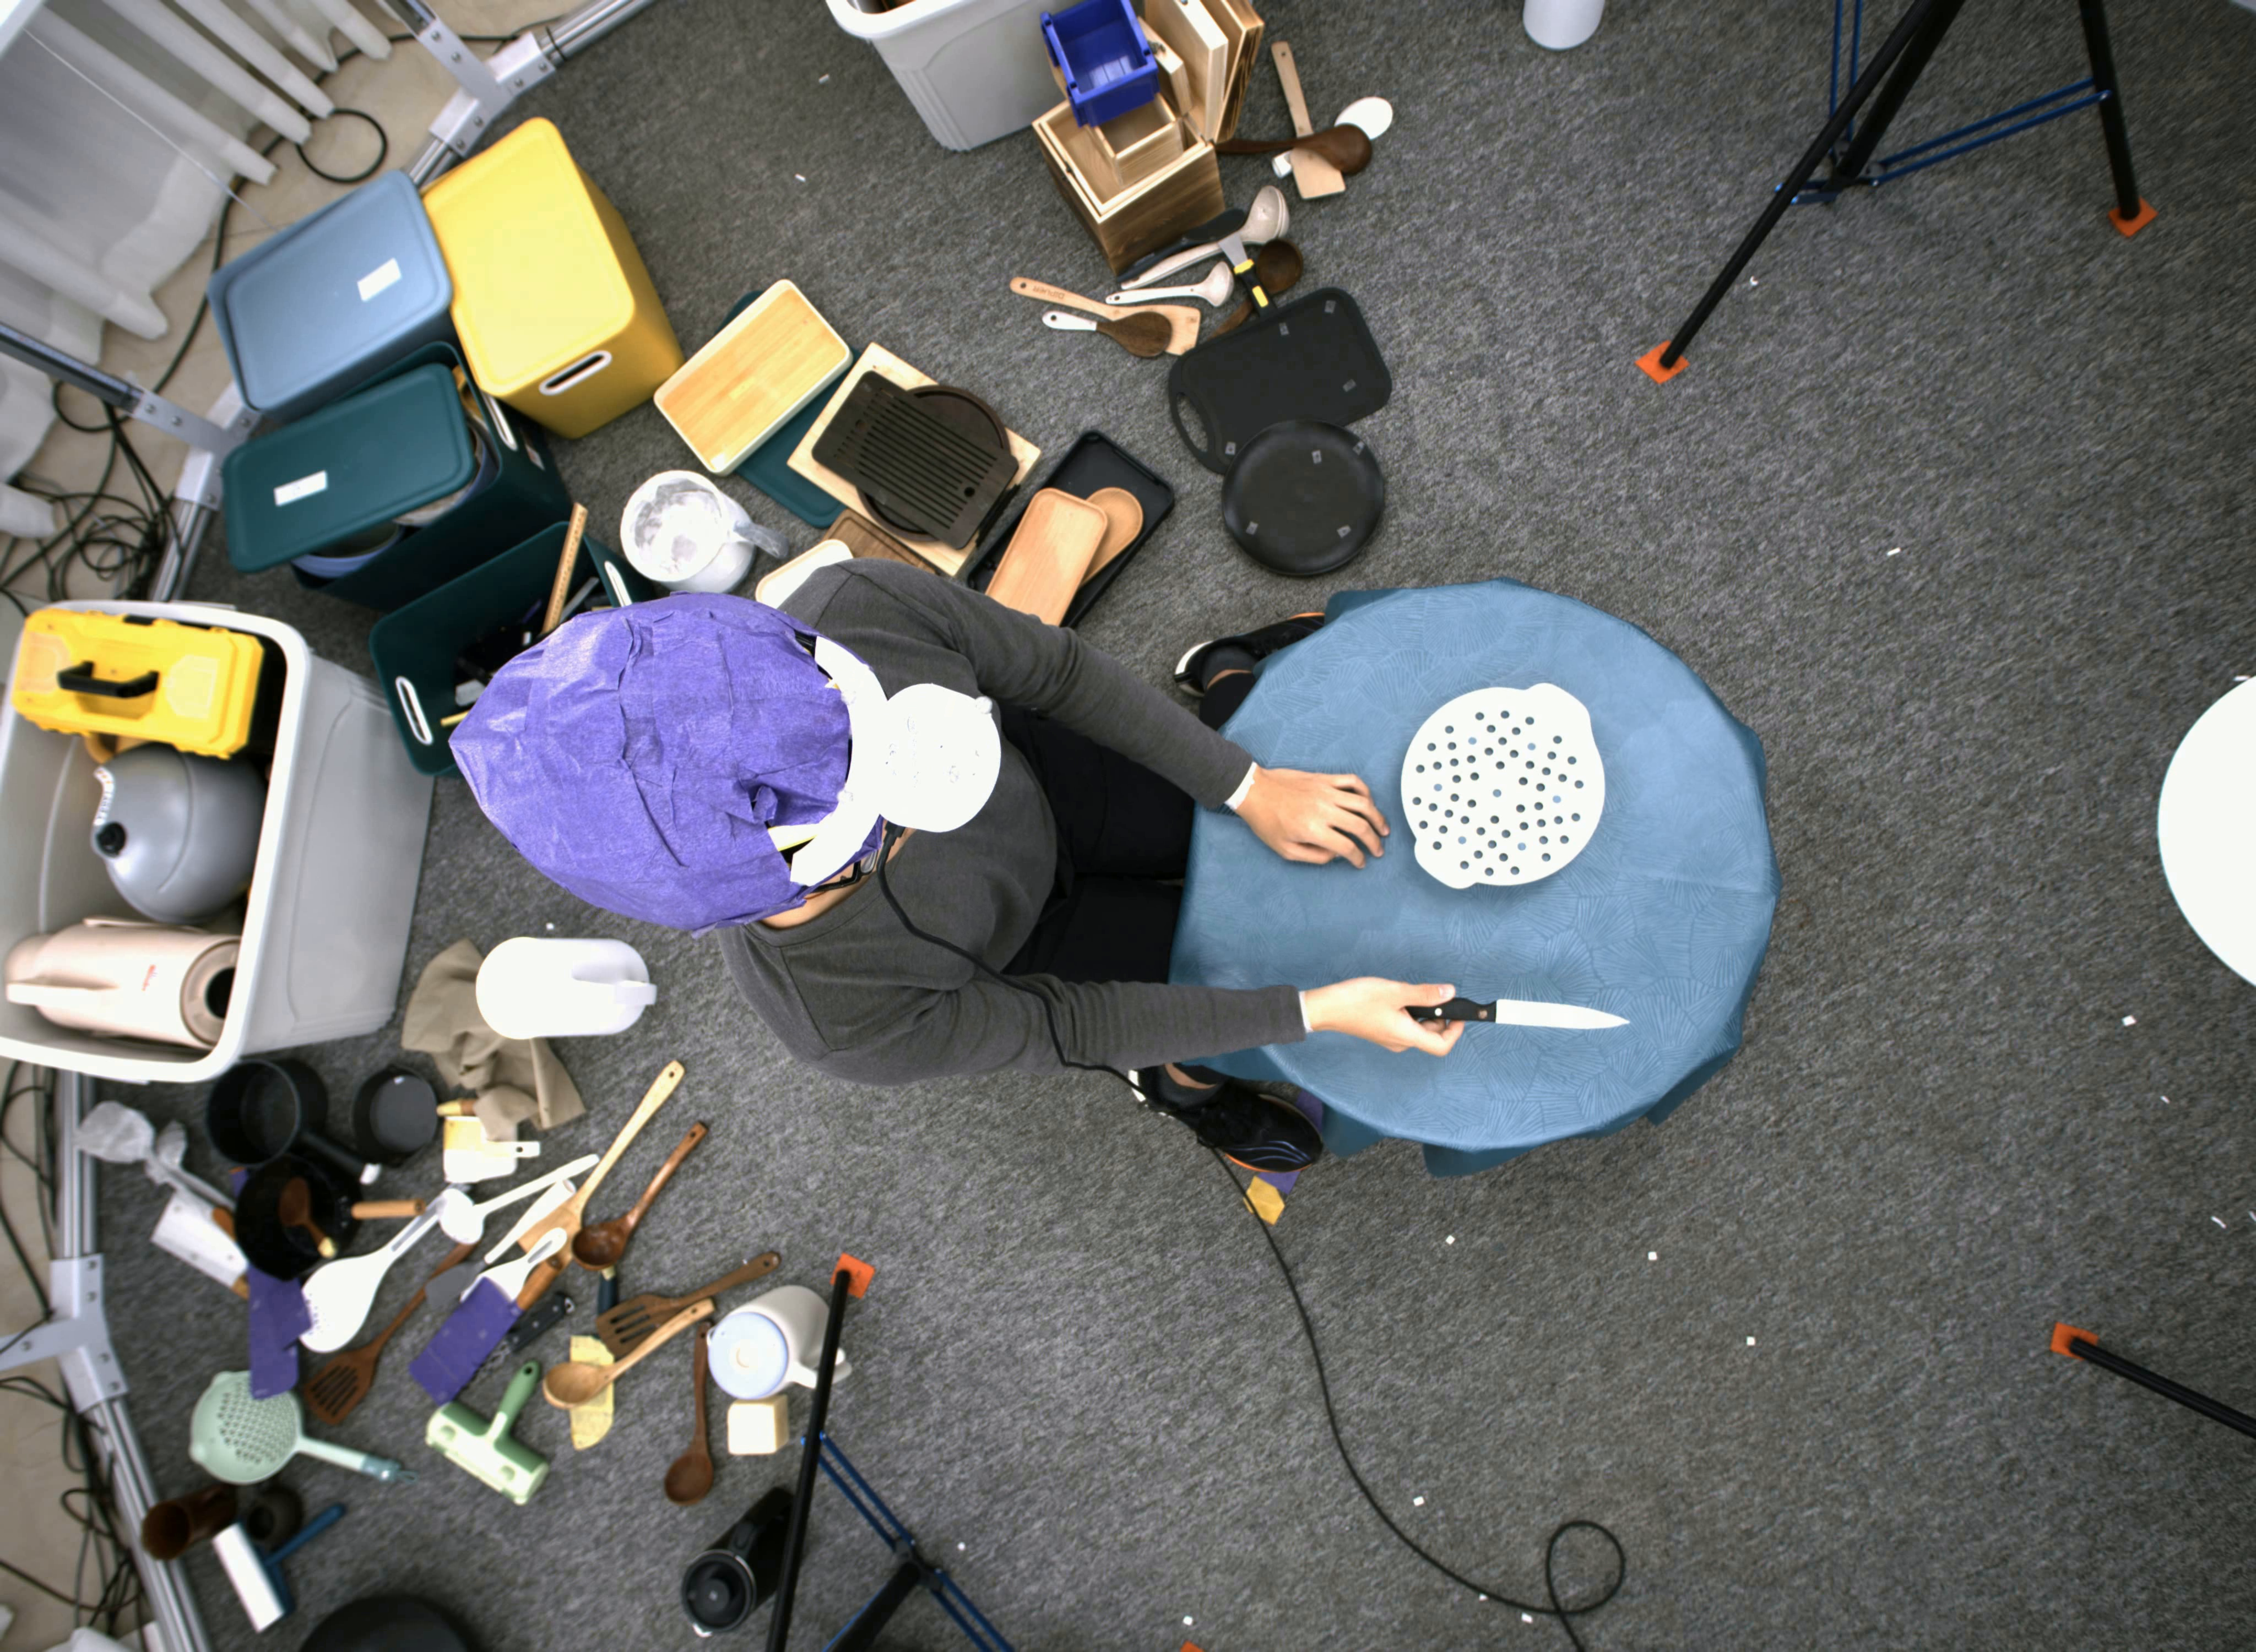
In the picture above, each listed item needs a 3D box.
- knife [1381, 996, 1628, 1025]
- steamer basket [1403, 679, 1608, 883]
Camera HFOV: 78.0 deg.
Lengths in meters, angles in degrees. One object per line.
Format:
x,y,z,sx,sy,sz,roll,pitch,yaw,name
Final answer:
0.368,0.180,1.350,0.239,0.016,0.024,1,97,8,knife
0.385,-0.045,1.410,0.201,0.069,0.231,38,94,11,steamer basket
